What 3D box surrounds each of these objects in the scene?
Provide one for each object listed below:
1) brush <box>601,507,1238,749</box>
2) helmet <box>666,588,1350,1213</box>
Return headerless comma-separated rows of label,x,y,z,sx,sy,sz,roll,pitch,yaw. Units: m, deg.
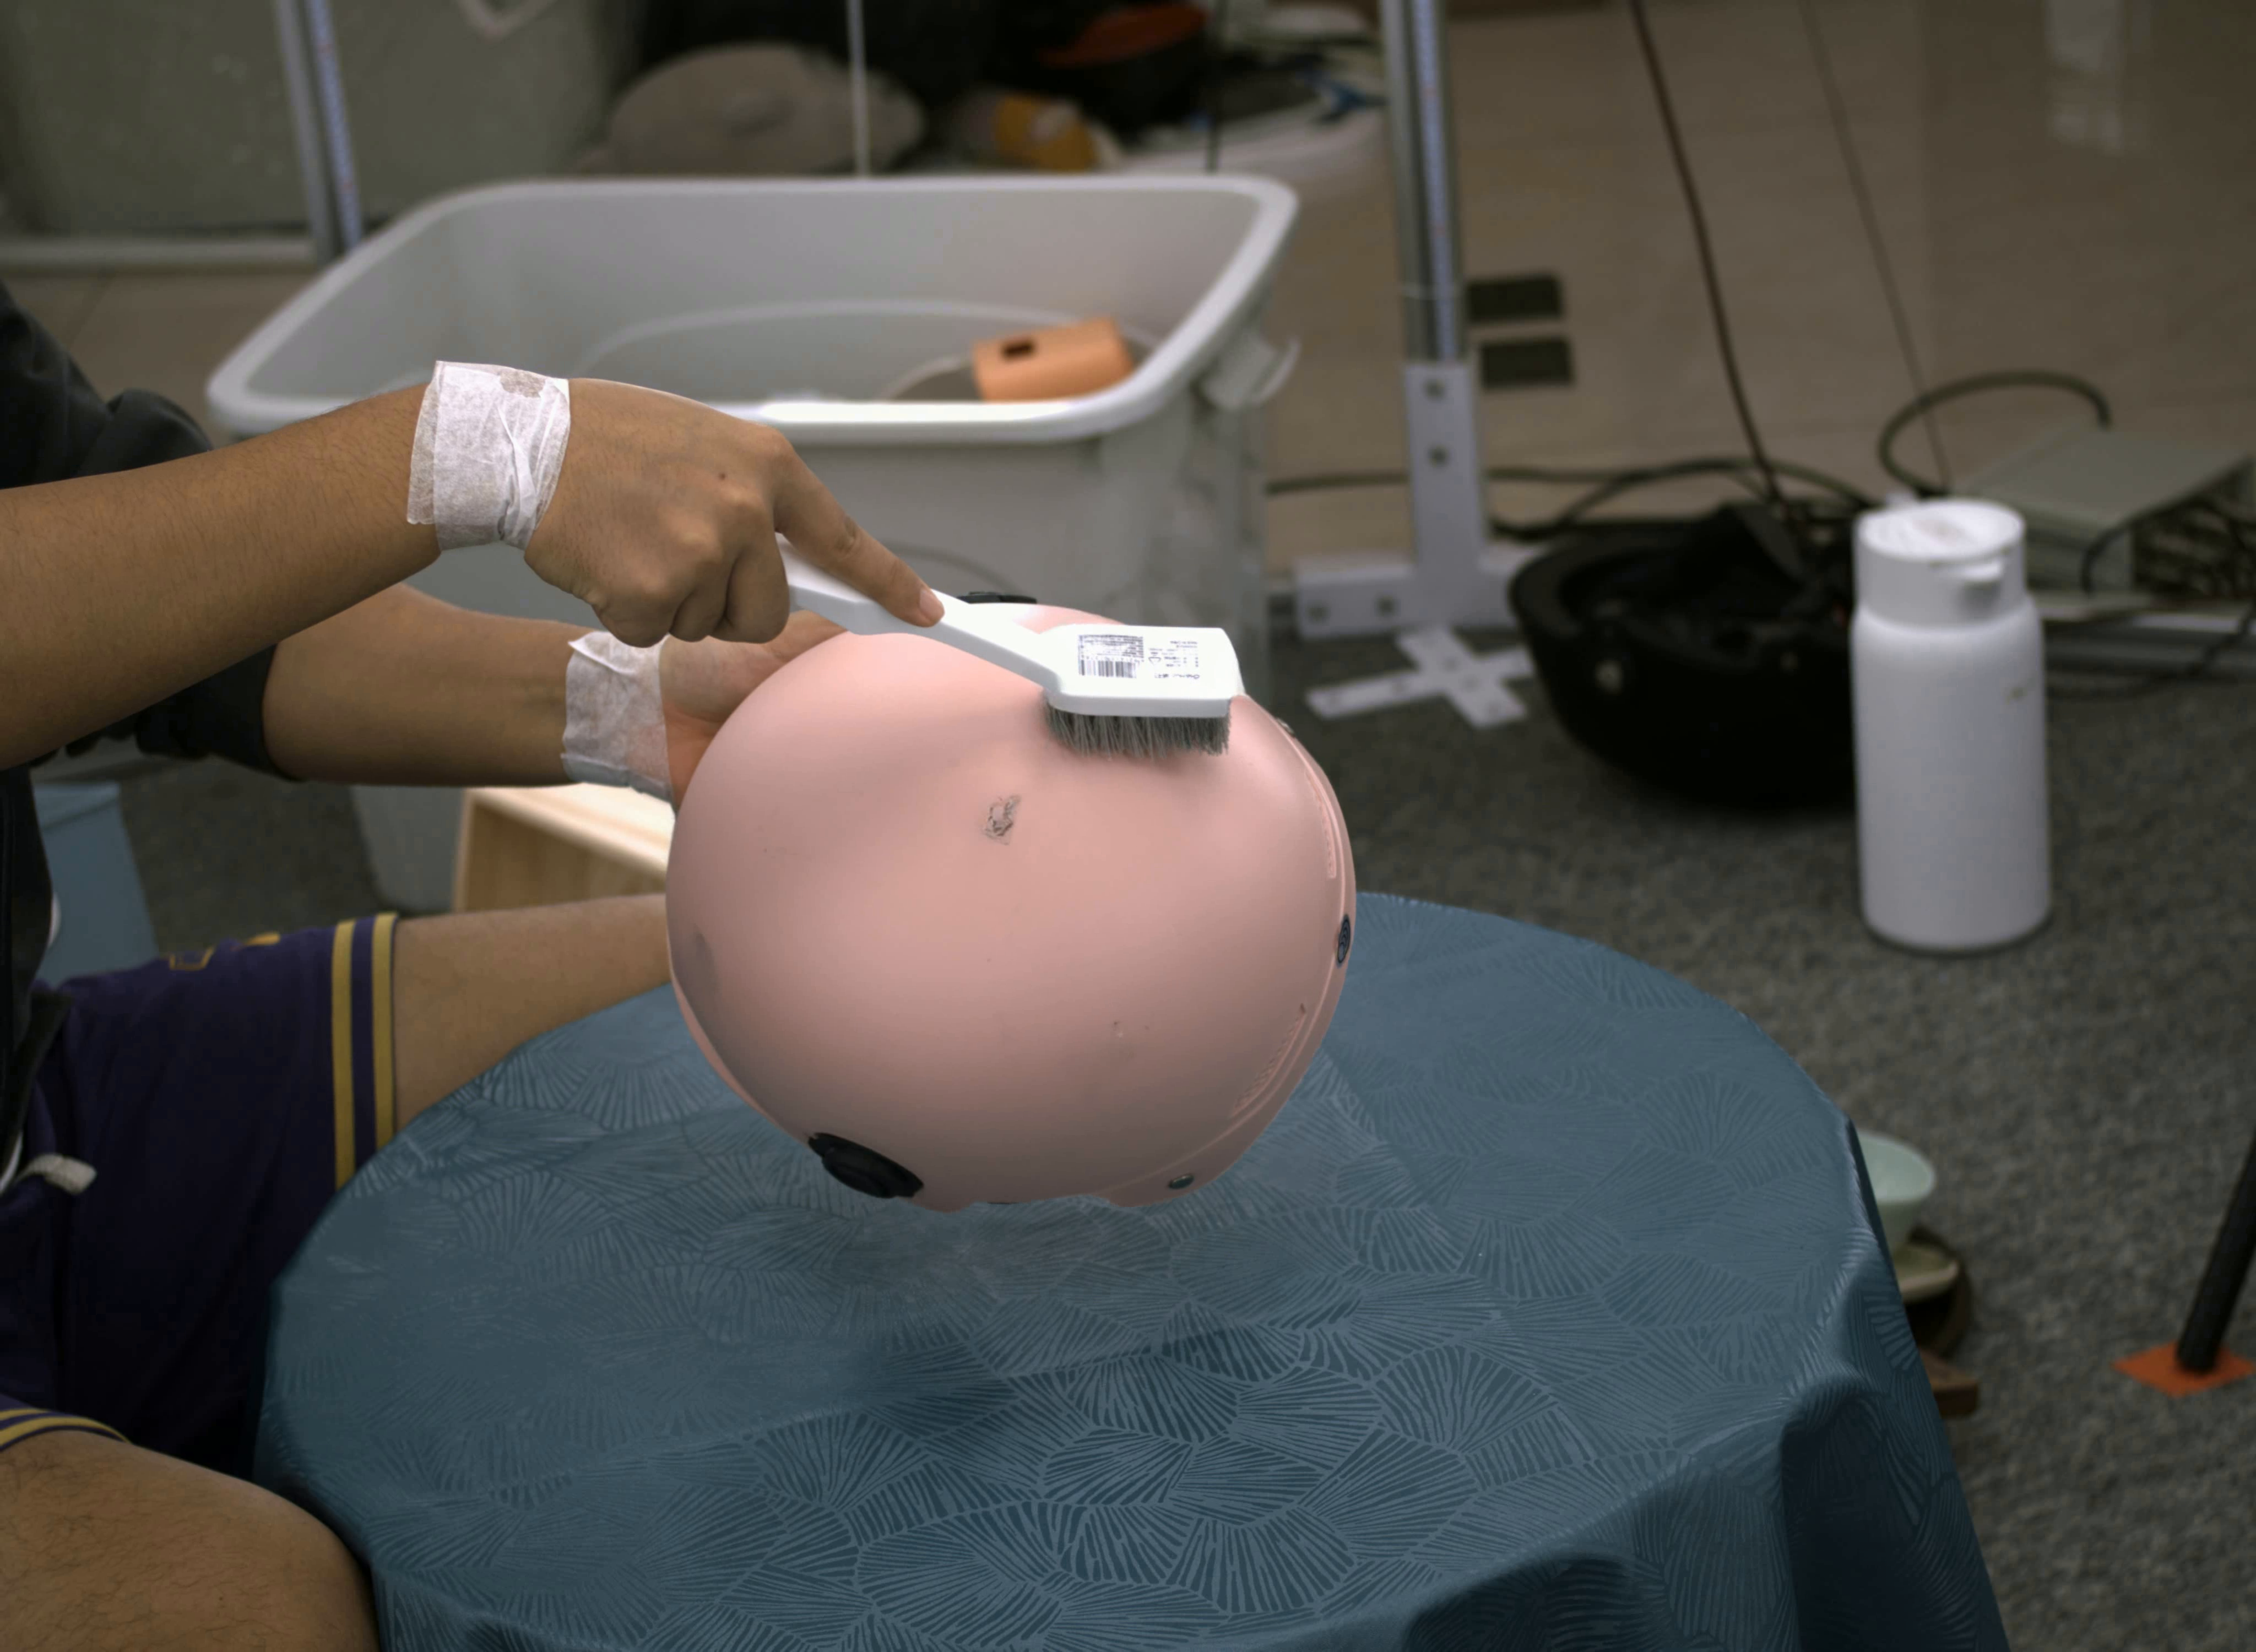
brush,-0.071,-0.066,1.936,0.244,0.051,0.034,11,50,-23
helmet,-0.058,0.017,2.052,0.265,0.233,0.160,8,-11,16
